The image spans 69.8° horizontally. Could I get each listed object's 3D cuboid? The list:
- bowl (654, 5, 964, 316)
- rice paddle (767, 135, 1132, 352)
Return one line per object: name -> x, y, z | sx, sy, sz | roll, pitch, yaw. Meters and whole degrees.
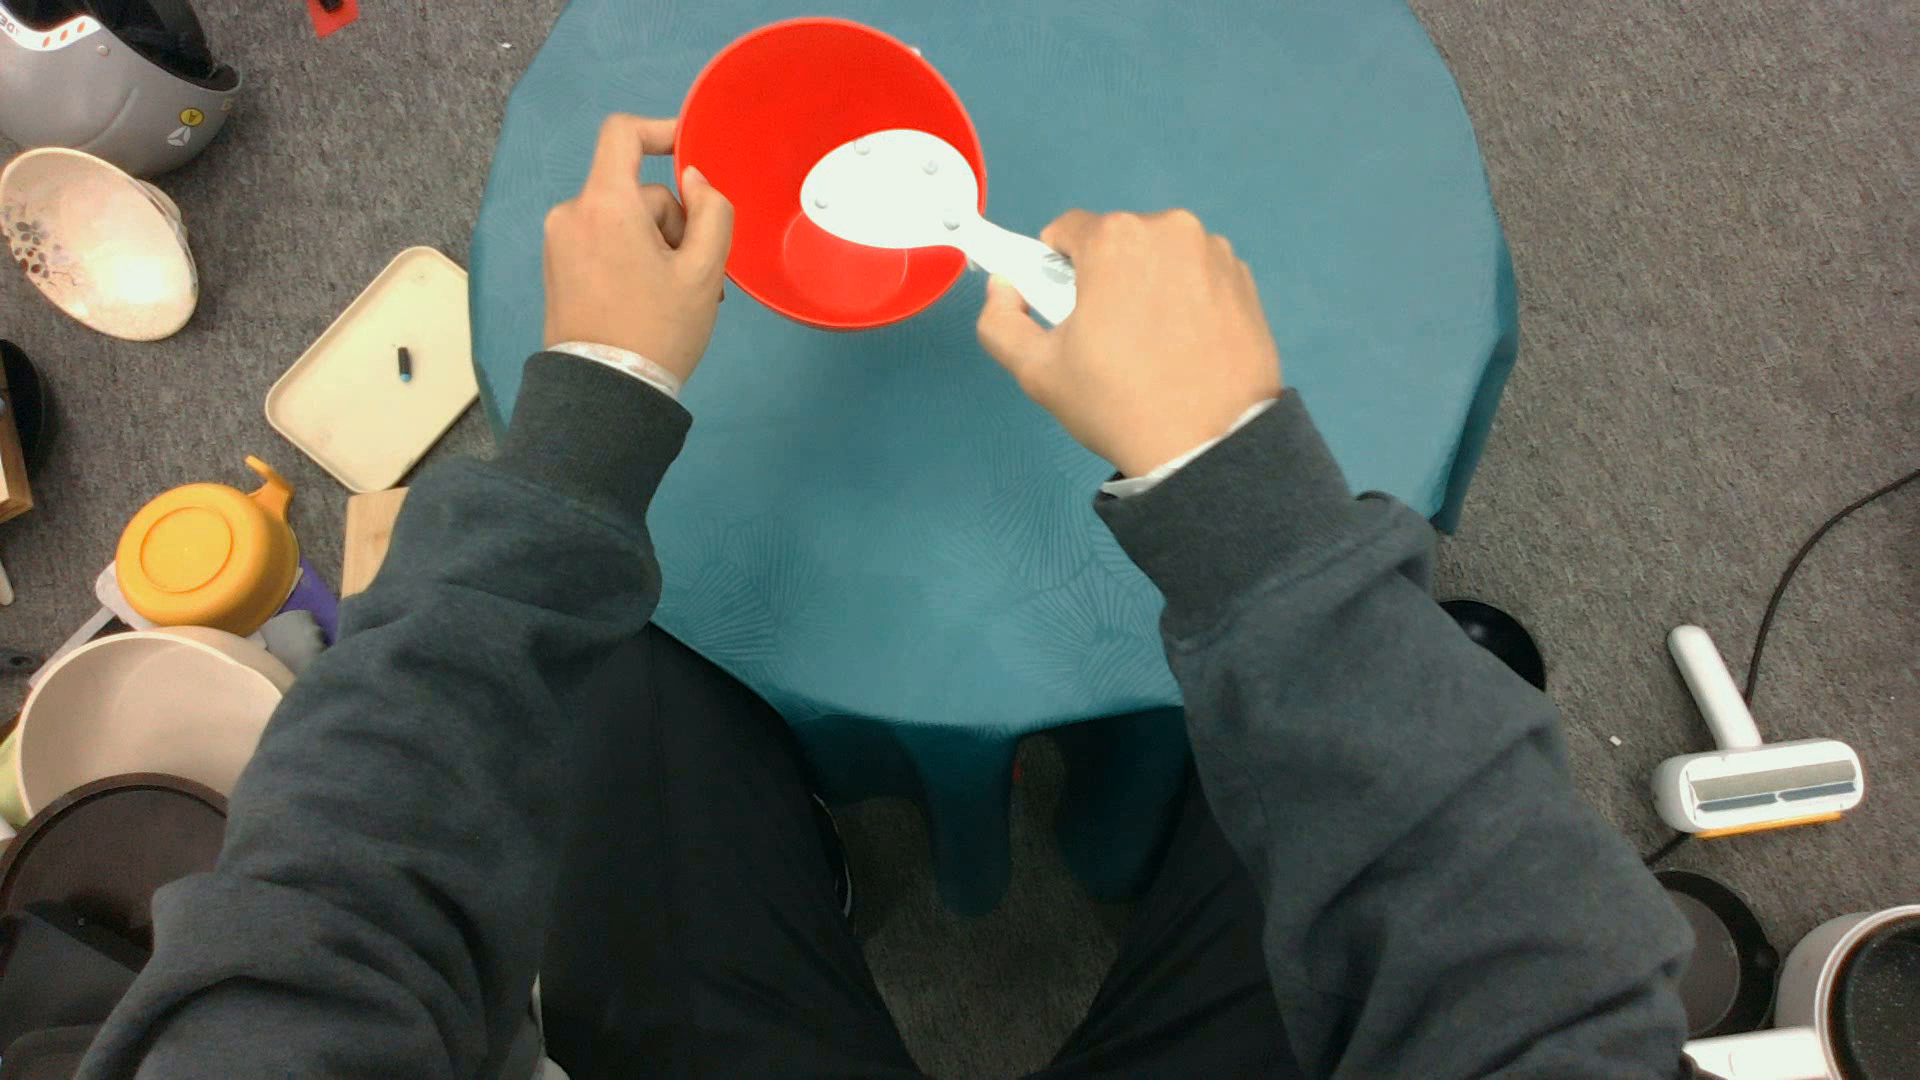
bowl -> -0.076, -0.174, 0.689 | 0.148, 0.104, 0.148 | 2, 79, -10
rice paddle -> -0.012, -0.133, 0.585 | 0.069, 0.029, 0.205 | -41, 51, -18
